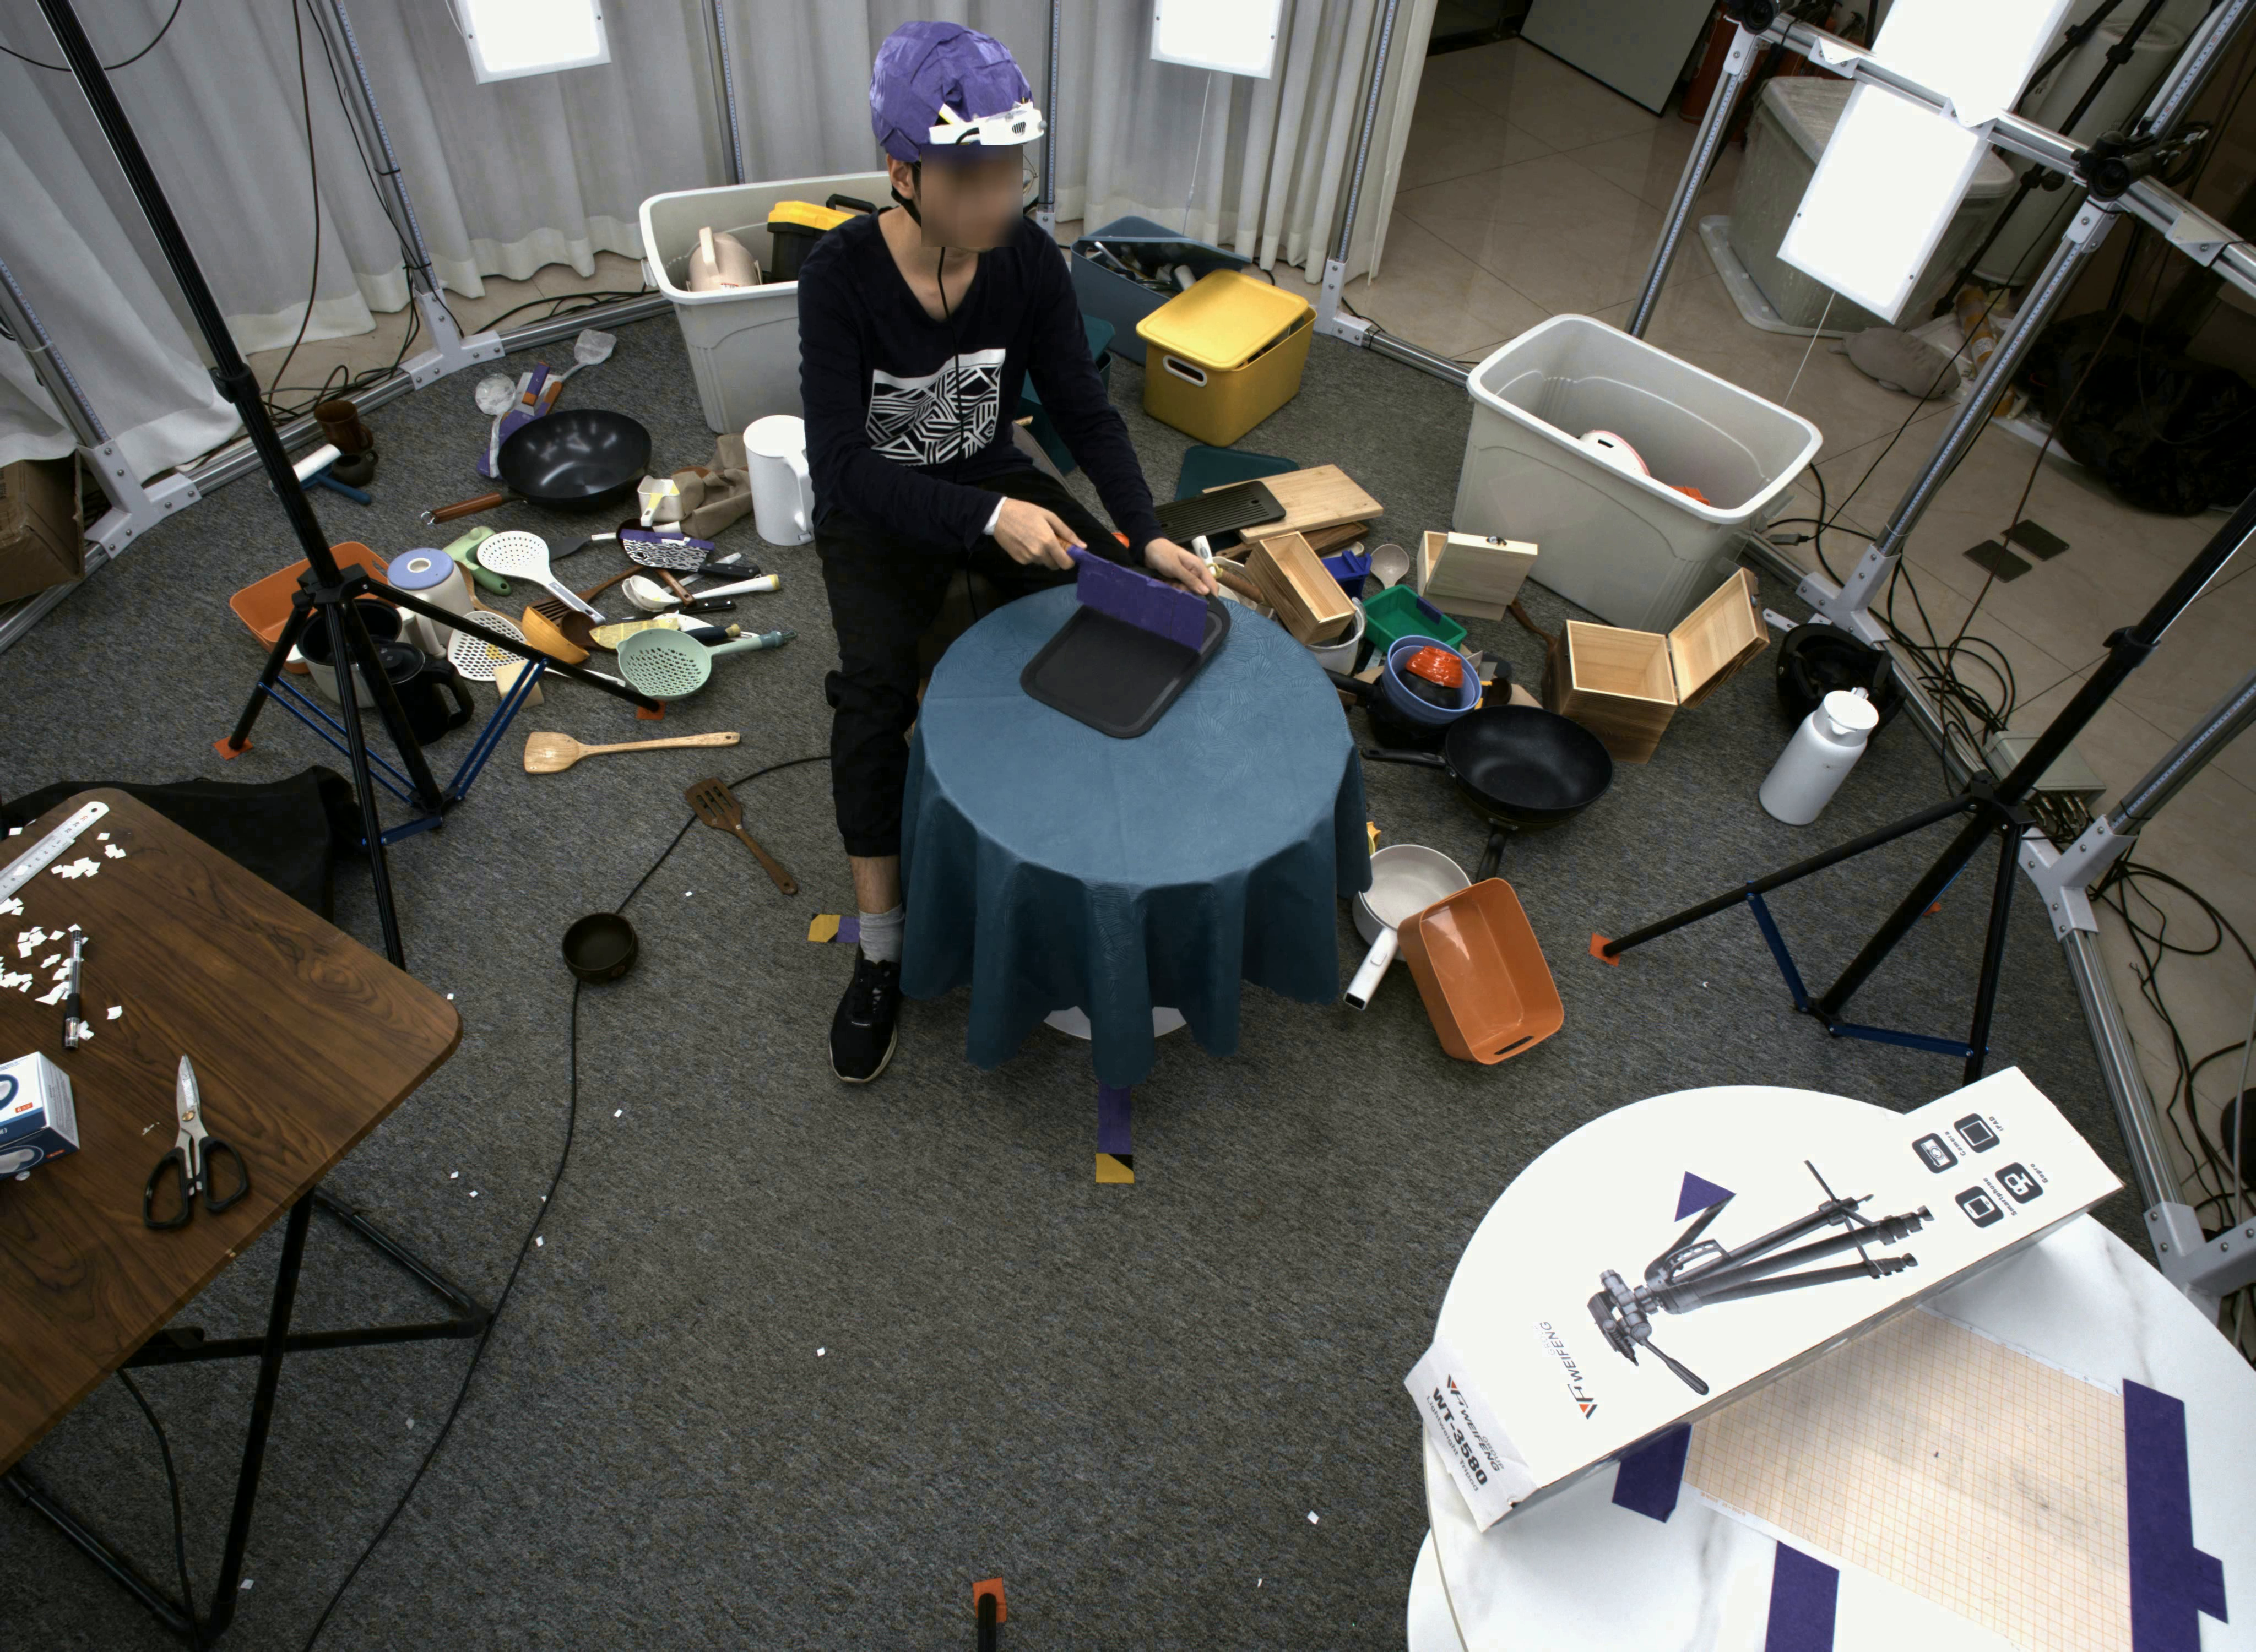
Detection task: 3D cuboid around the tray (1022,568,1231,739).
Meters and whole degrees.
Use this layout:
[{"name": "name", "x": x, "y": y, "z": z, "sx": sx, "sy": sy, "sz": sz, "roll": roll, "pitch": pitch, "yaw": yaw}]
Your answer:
[{"name": "tray", "x": 0.005, "y": -0.266, "z": 1.881, "sx": 0.213, "sy": 0.009, "sz": 0.330, "roll": 28, "pitch": 57, "yaw": 18}]

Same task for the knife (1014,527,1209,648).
[{"name": "knife", "x": -0.029, "y": -0.344, "z": 1.880, "sx": 0.318, "sy": 0.101, "sz": 0.033, "roll": 26, "pitch": 45, "yaw": 17}]
